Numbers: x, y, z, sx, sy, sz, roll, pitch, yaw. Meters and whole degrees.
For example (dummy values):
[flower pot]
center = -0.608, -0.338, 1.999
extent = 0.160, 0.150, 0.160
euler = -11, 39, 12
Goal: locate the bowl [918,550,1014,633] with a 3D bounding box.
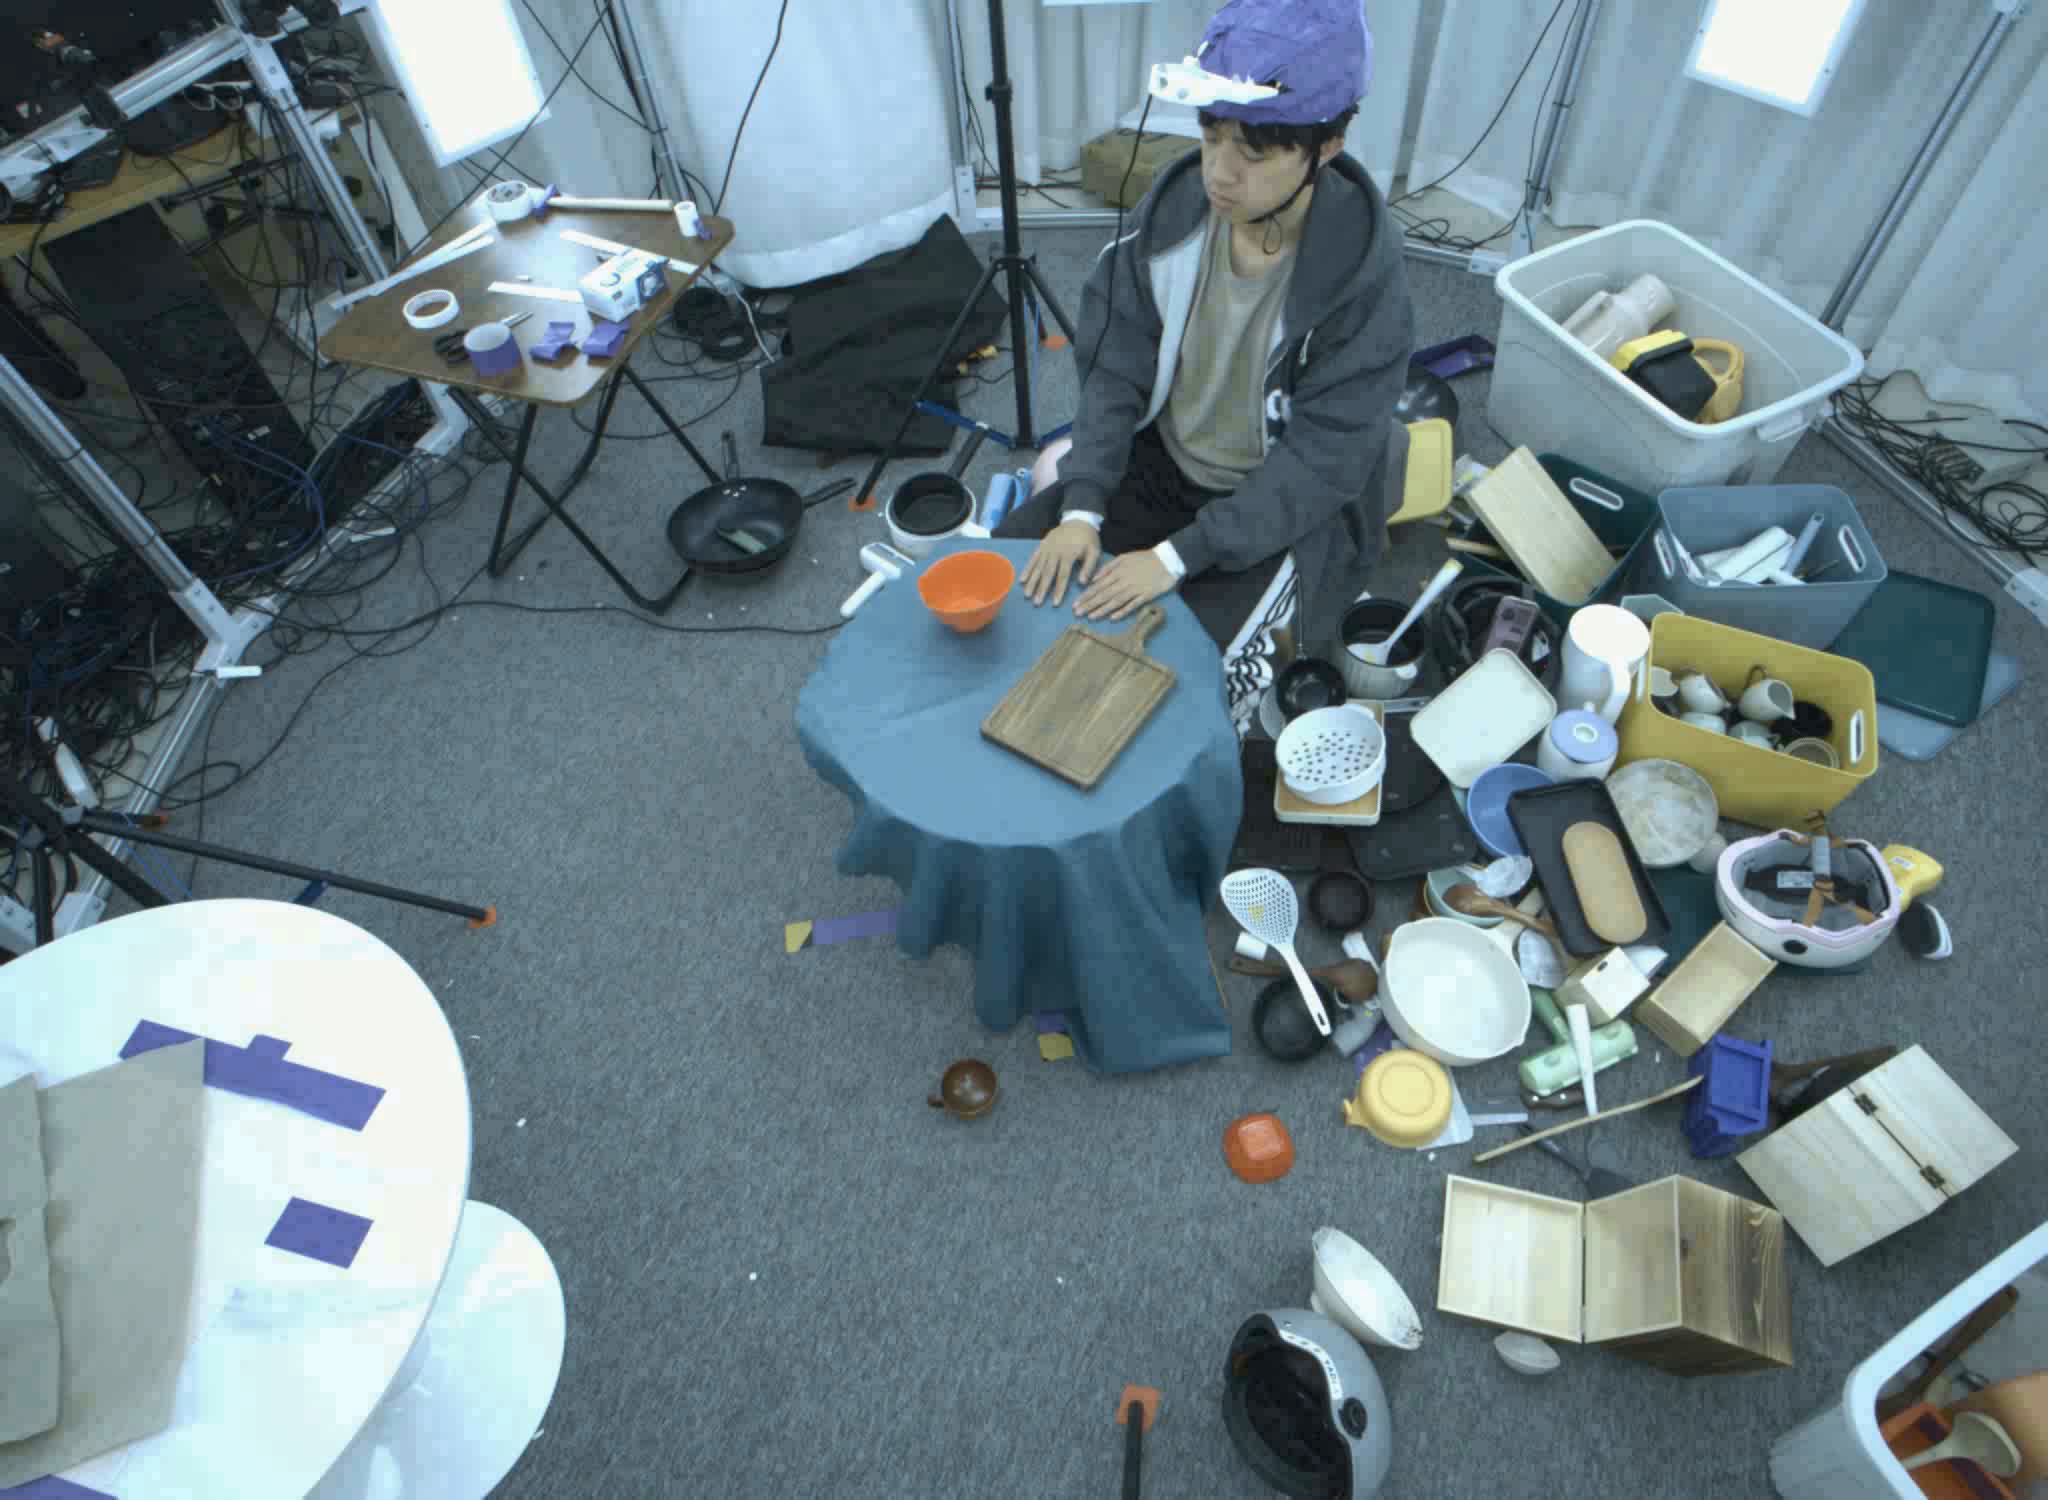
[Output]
[bowl]
center = -0.087, -0.233, 1.896
extent = 0.148, 0.106, 0.146
euler = -1, 55, 3

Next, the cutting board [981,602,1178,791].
[cutting board]
center = 0.112, -0.103, 1.847
extent = 0.198, 0.023, 0.353
euler = 28, 60, 20
